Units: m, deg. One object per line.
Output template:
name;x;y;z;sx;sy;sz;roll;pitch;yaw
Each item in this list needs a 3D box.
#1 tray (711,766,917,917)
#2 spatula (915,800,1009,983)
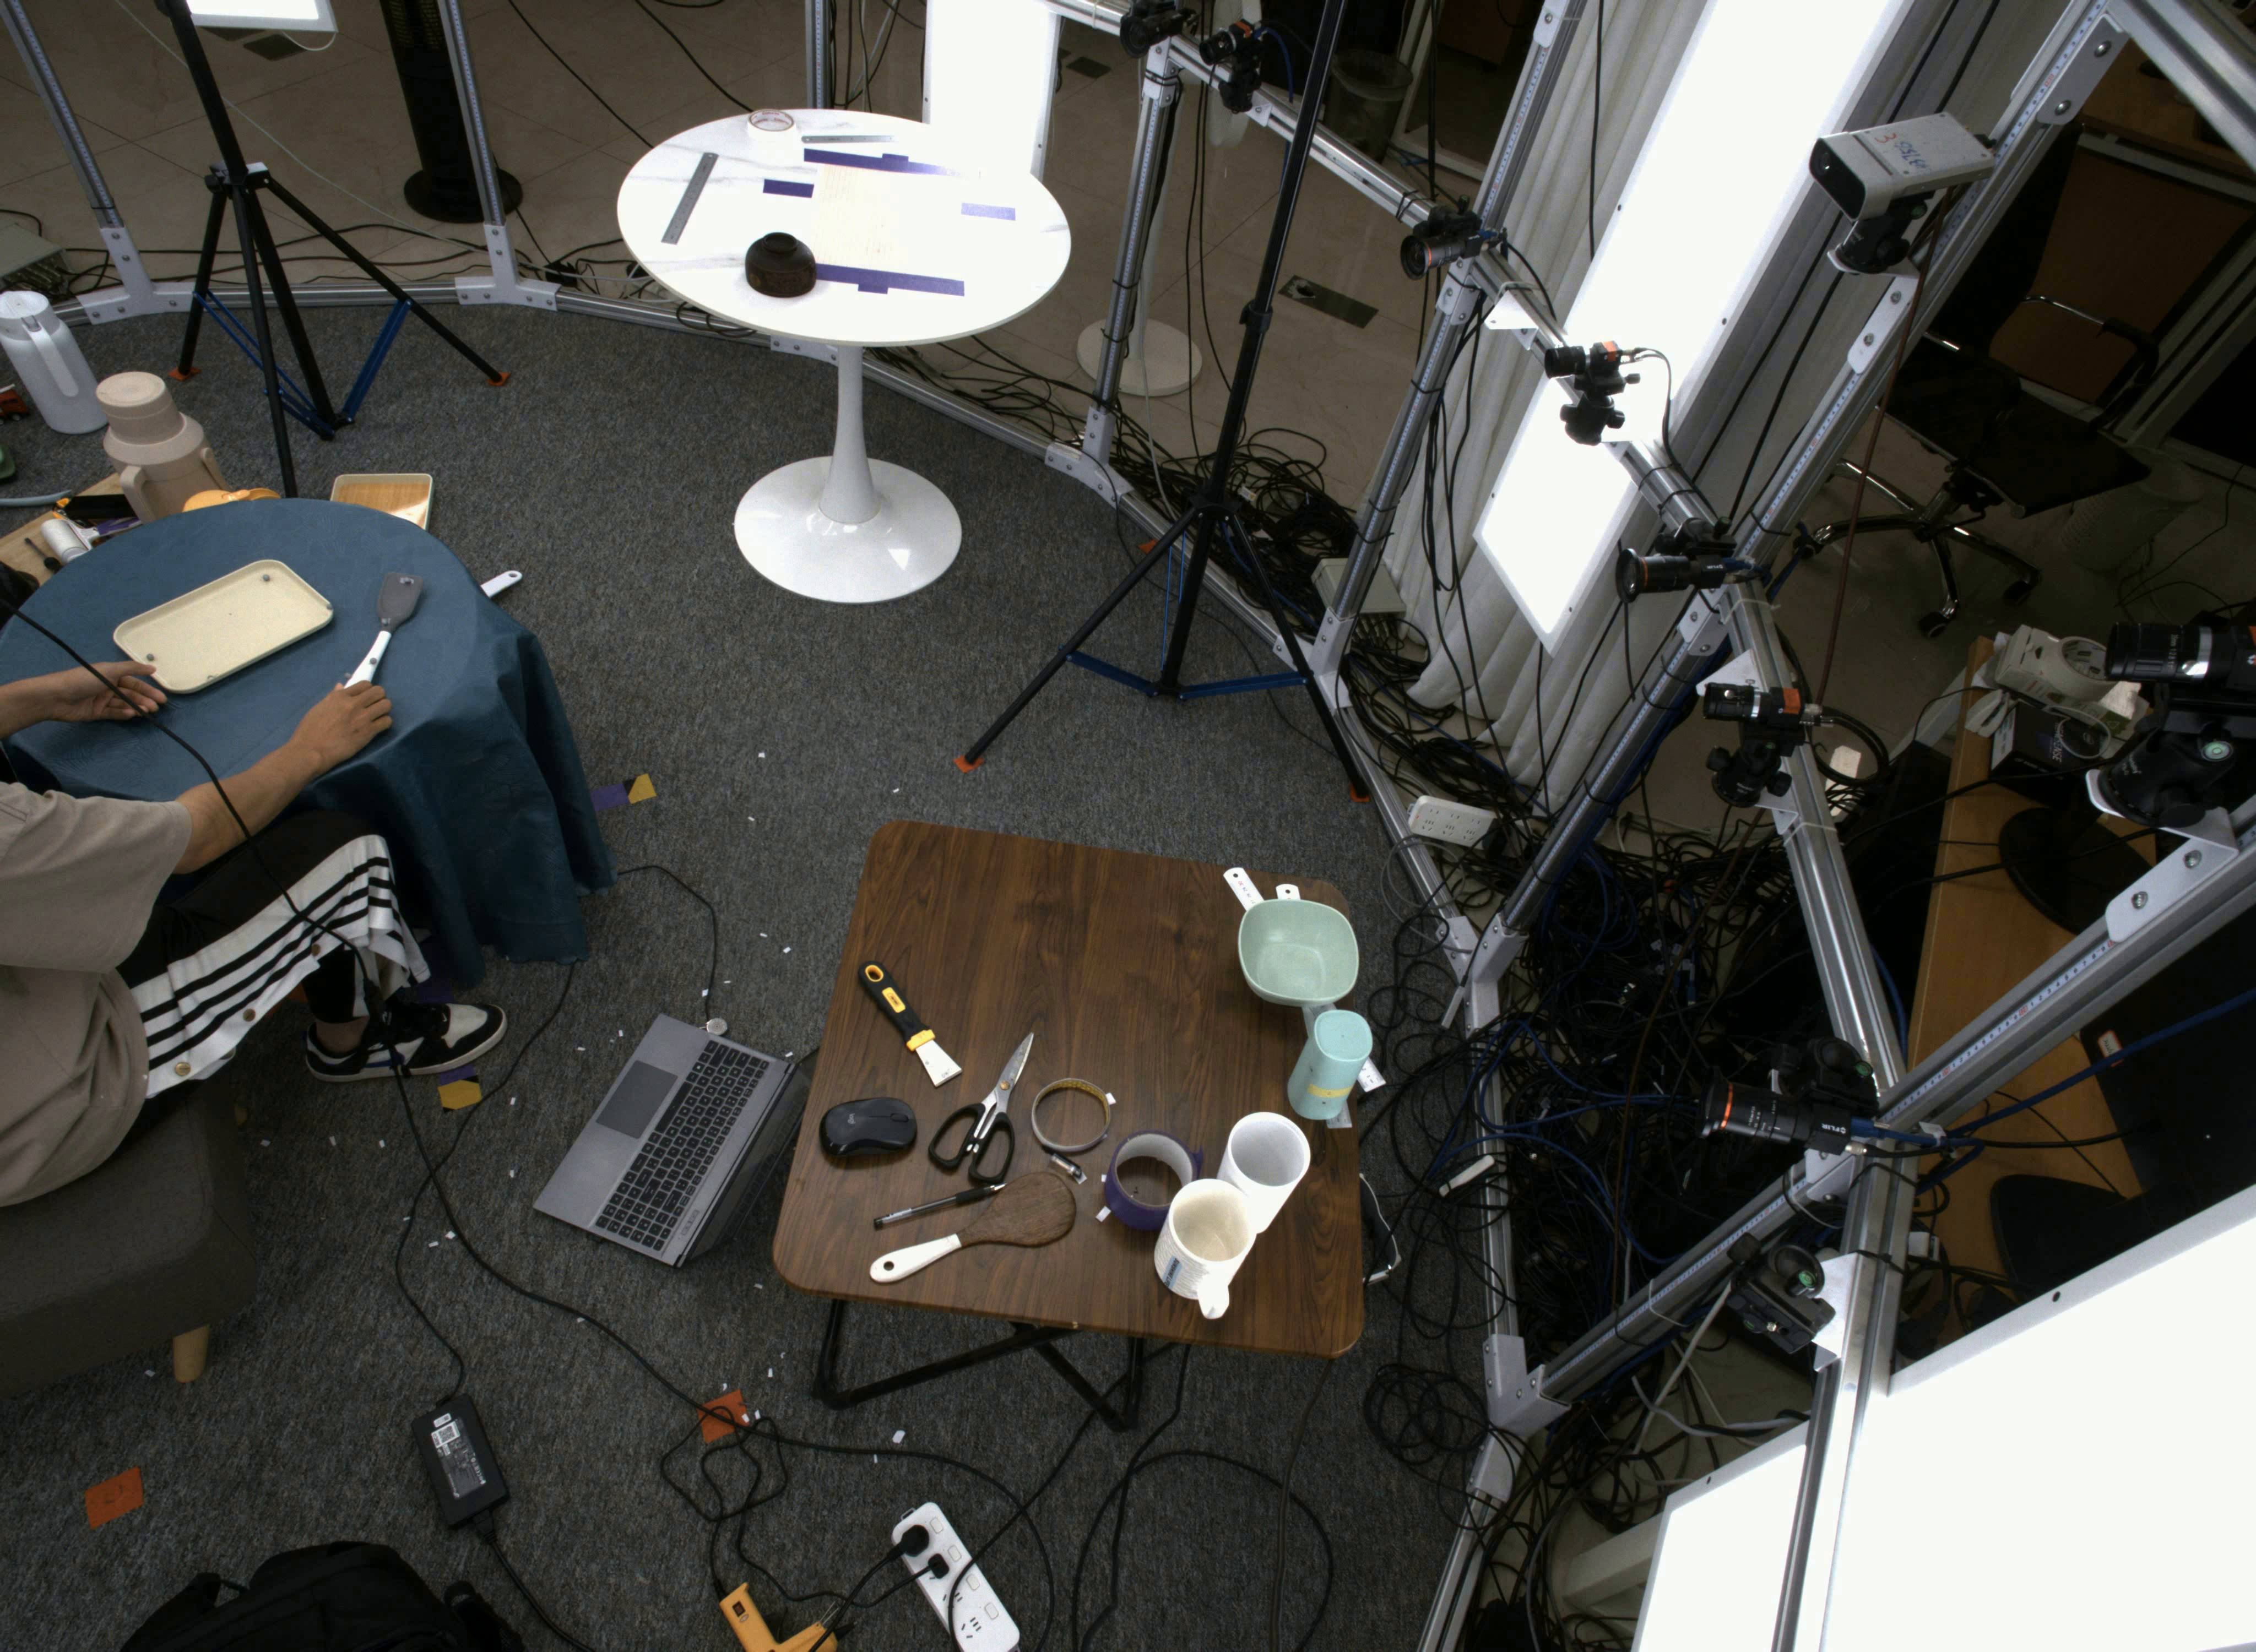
tray;-0.413;0.018;1.713;0.240;0.018;0.167;-28;63;-29
spatula;-0.219;0.079;1.700;0.058;0.033;0.284;18;50;-2
